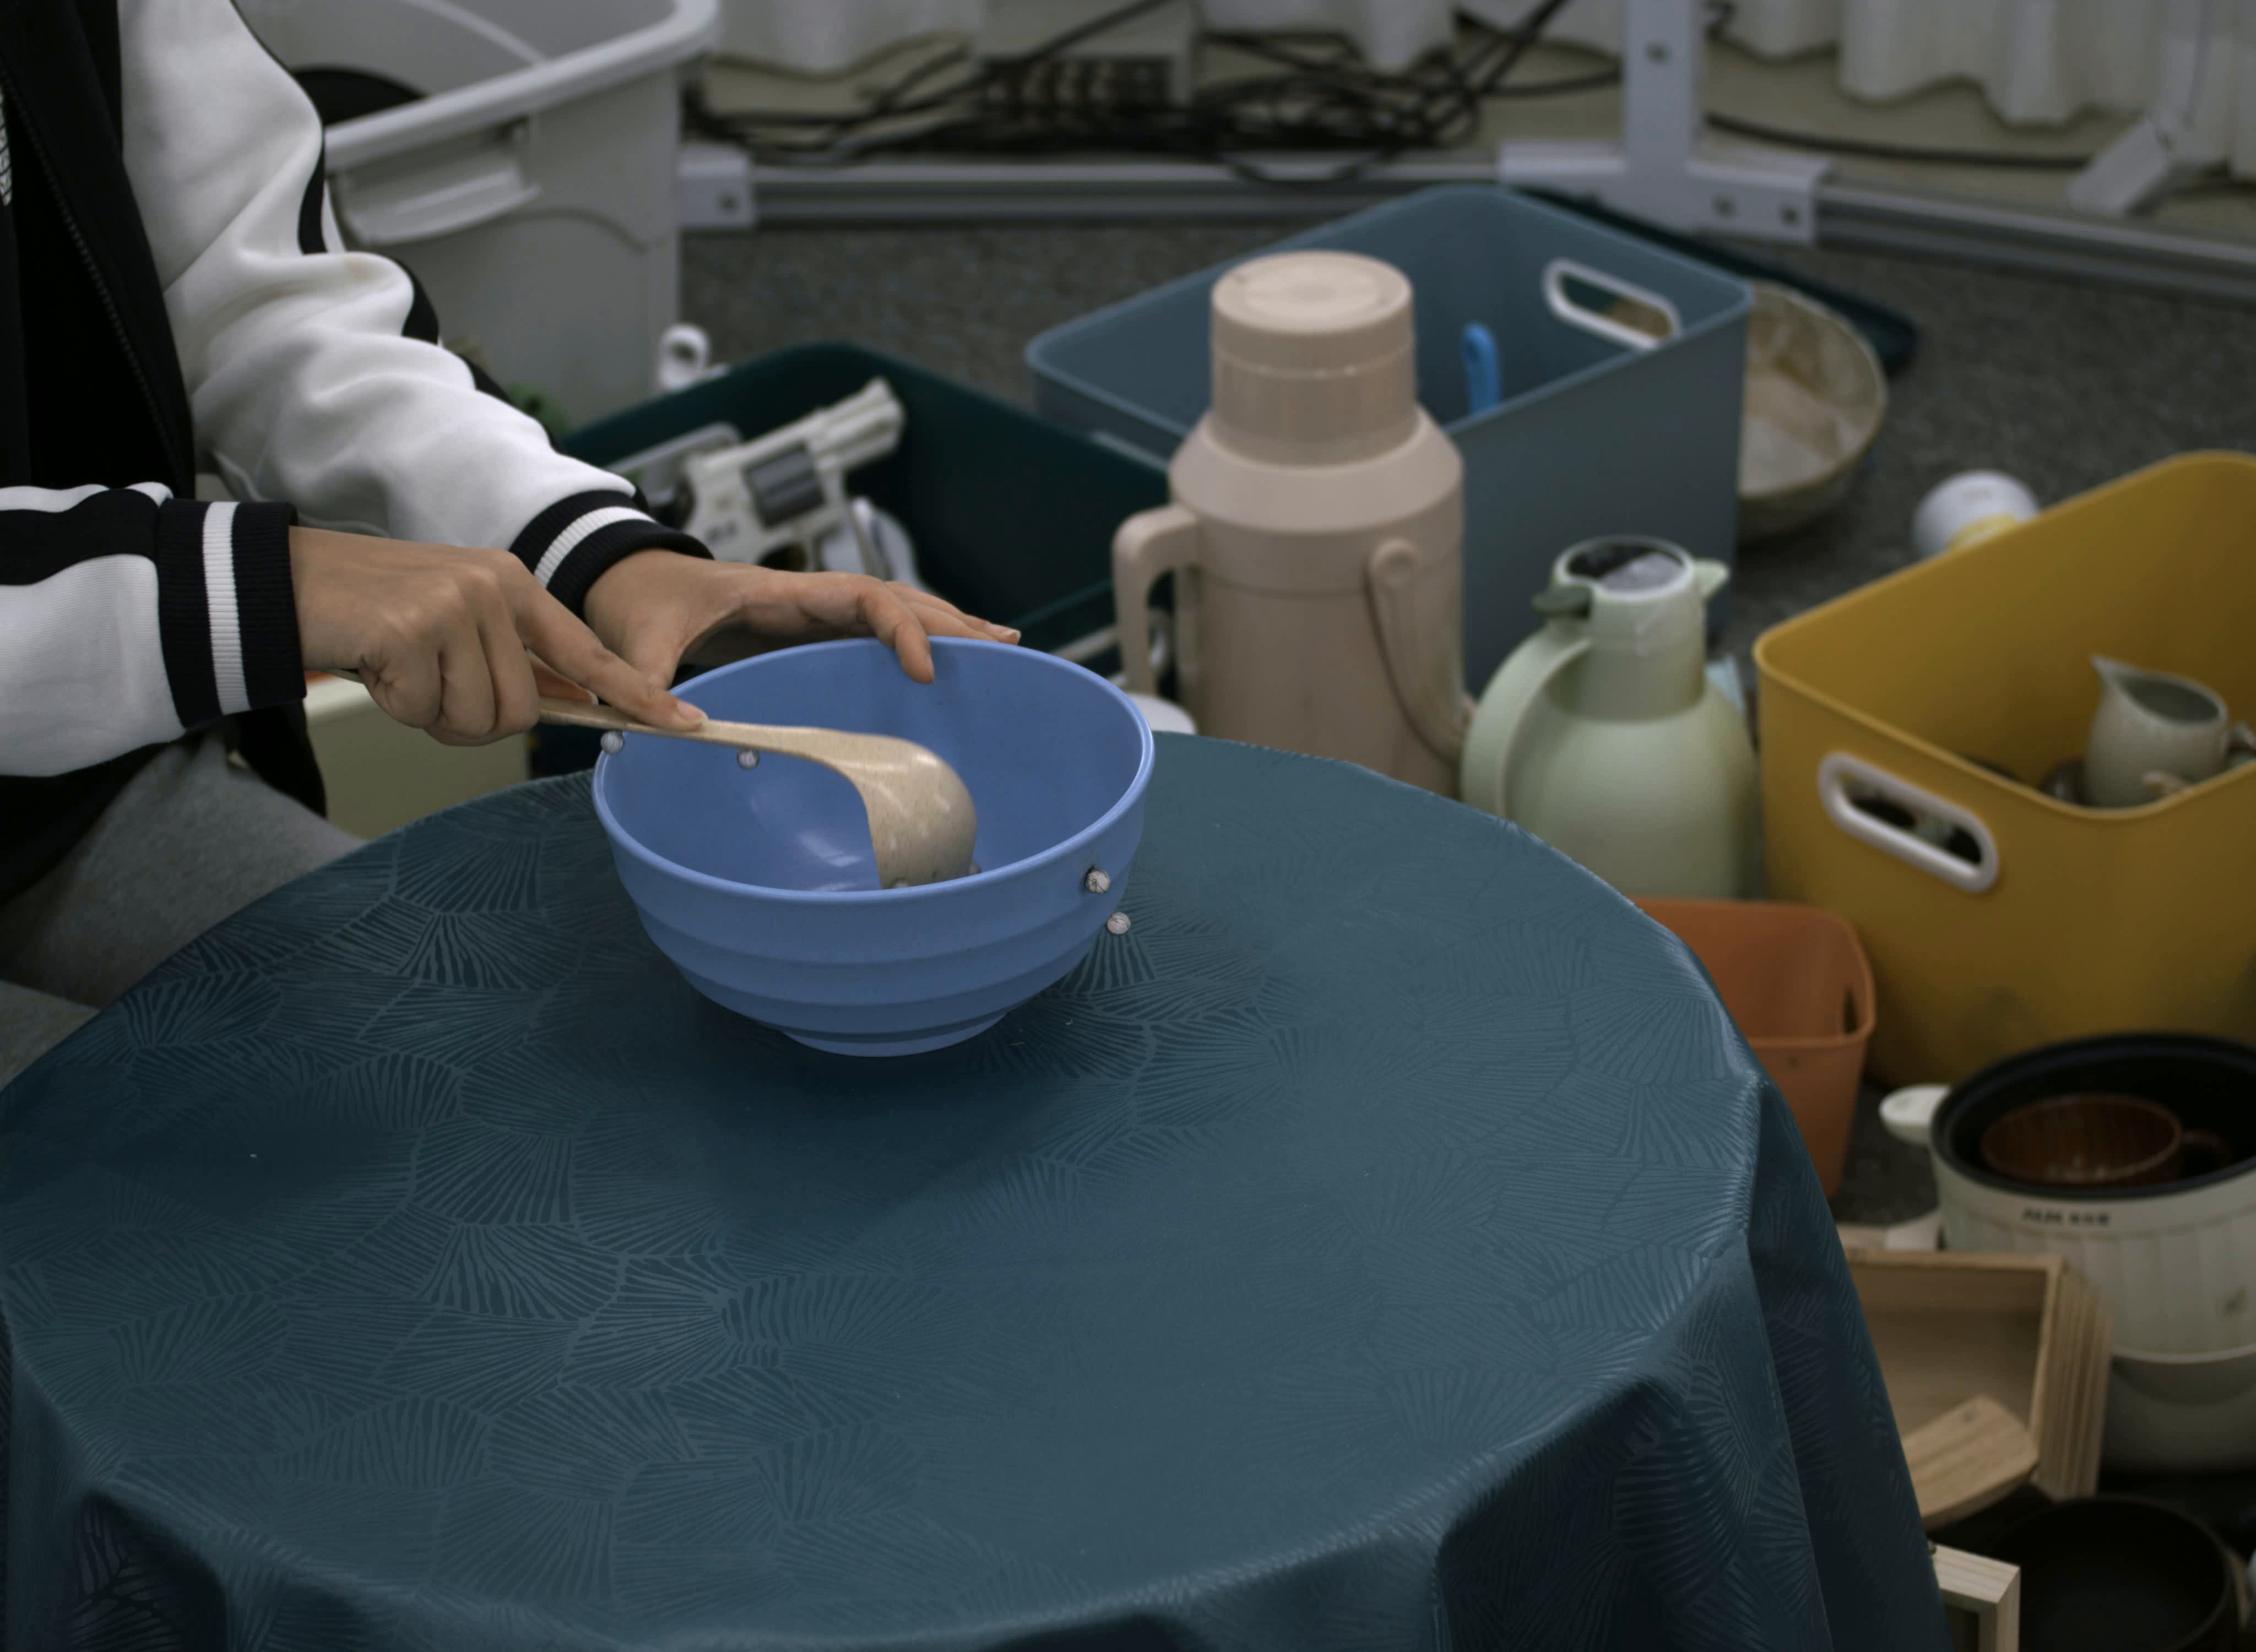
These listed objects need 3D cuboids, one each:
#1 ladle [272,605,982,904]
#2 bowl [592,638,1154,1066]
[{"bbox_3d":[-0.178,-0.016,1.954,0.253,0.072,0.073,12,28,-7],"label":"ladle"},{"bbox_3d":[-0.085,0.021,1.969,0.195,0.094,0.199,-3,28,2],"label":"bowl"}]
